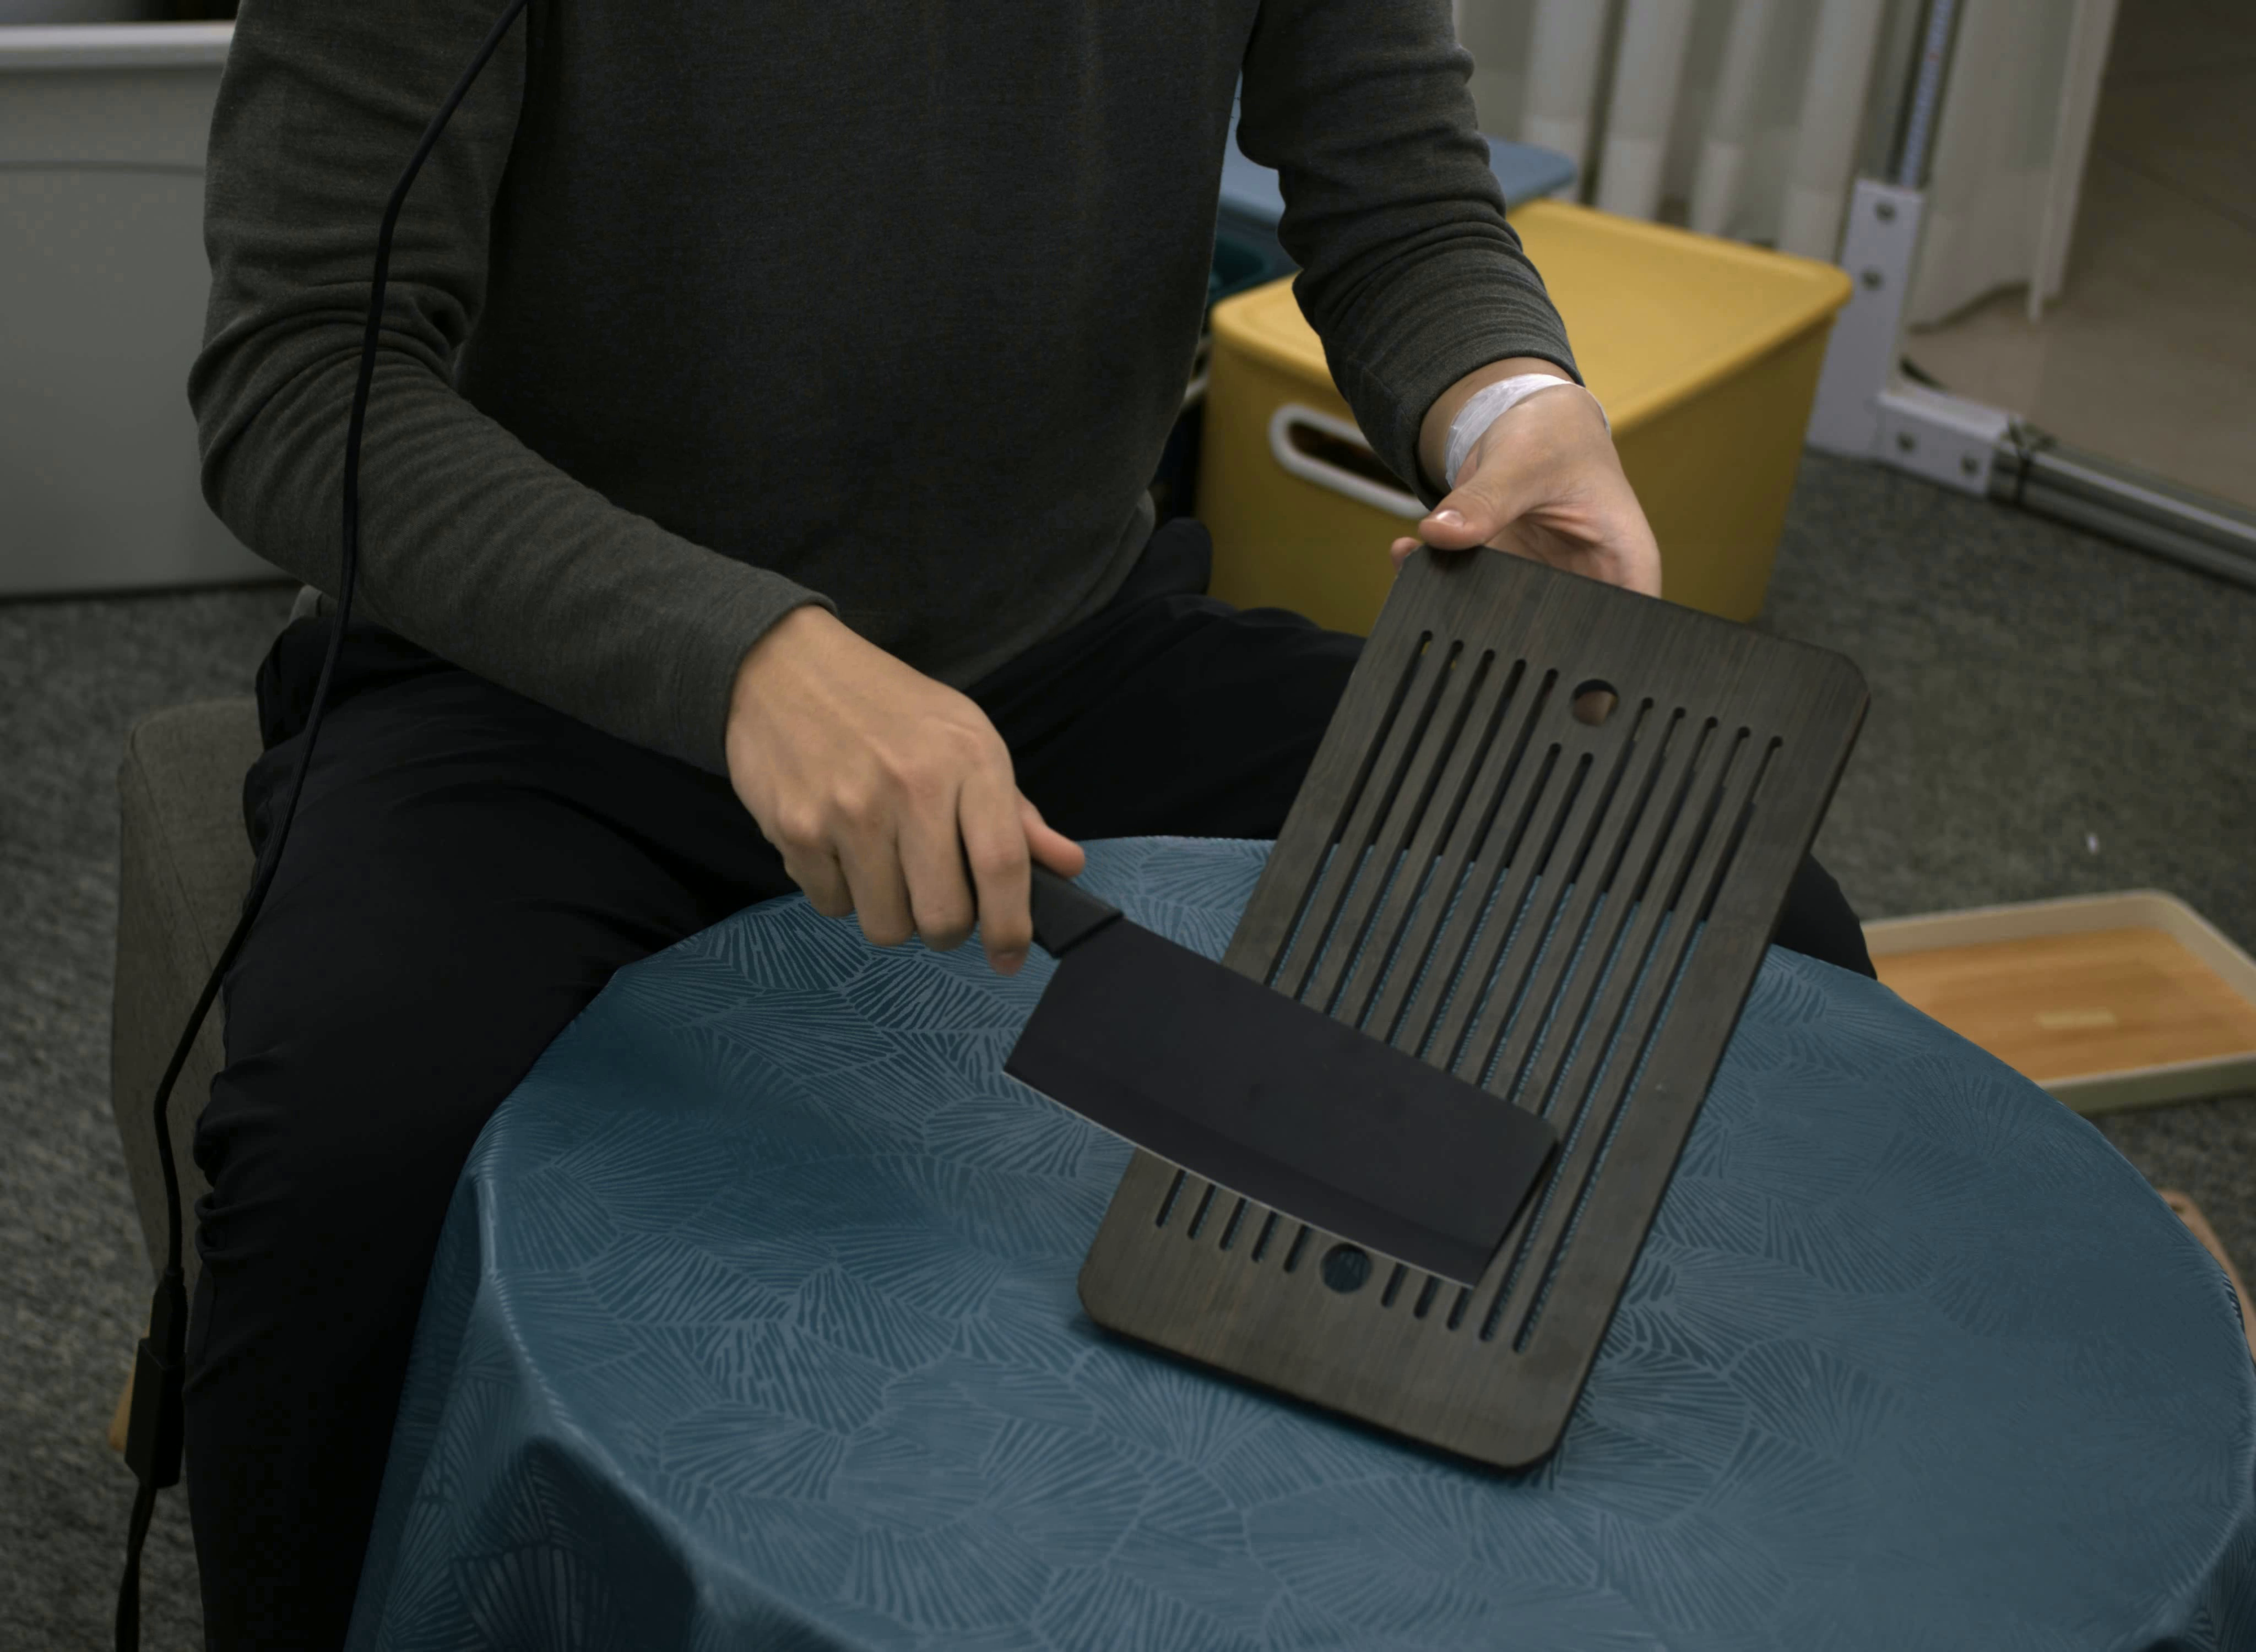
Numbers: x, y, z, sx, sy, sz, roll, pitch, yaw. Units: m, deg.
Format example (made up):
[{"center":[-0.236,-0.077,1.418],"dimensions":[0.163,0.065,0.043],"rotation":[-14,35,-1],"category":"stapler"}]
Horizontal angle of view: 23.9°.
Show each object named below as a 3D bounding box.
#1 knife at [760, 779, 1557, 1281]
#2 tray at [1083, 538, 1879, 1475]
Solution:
[{"center":[0.002,0.062,1.760],"dimensions":[0.304,0.020,0.081],"rotation":[29,78,25],"category":"knife"},{"center":[0.118,0.055,1.748],"dimensions":[0.171,0.018,0.307],"rotation":[17,68,22],"category":"tray"}]
